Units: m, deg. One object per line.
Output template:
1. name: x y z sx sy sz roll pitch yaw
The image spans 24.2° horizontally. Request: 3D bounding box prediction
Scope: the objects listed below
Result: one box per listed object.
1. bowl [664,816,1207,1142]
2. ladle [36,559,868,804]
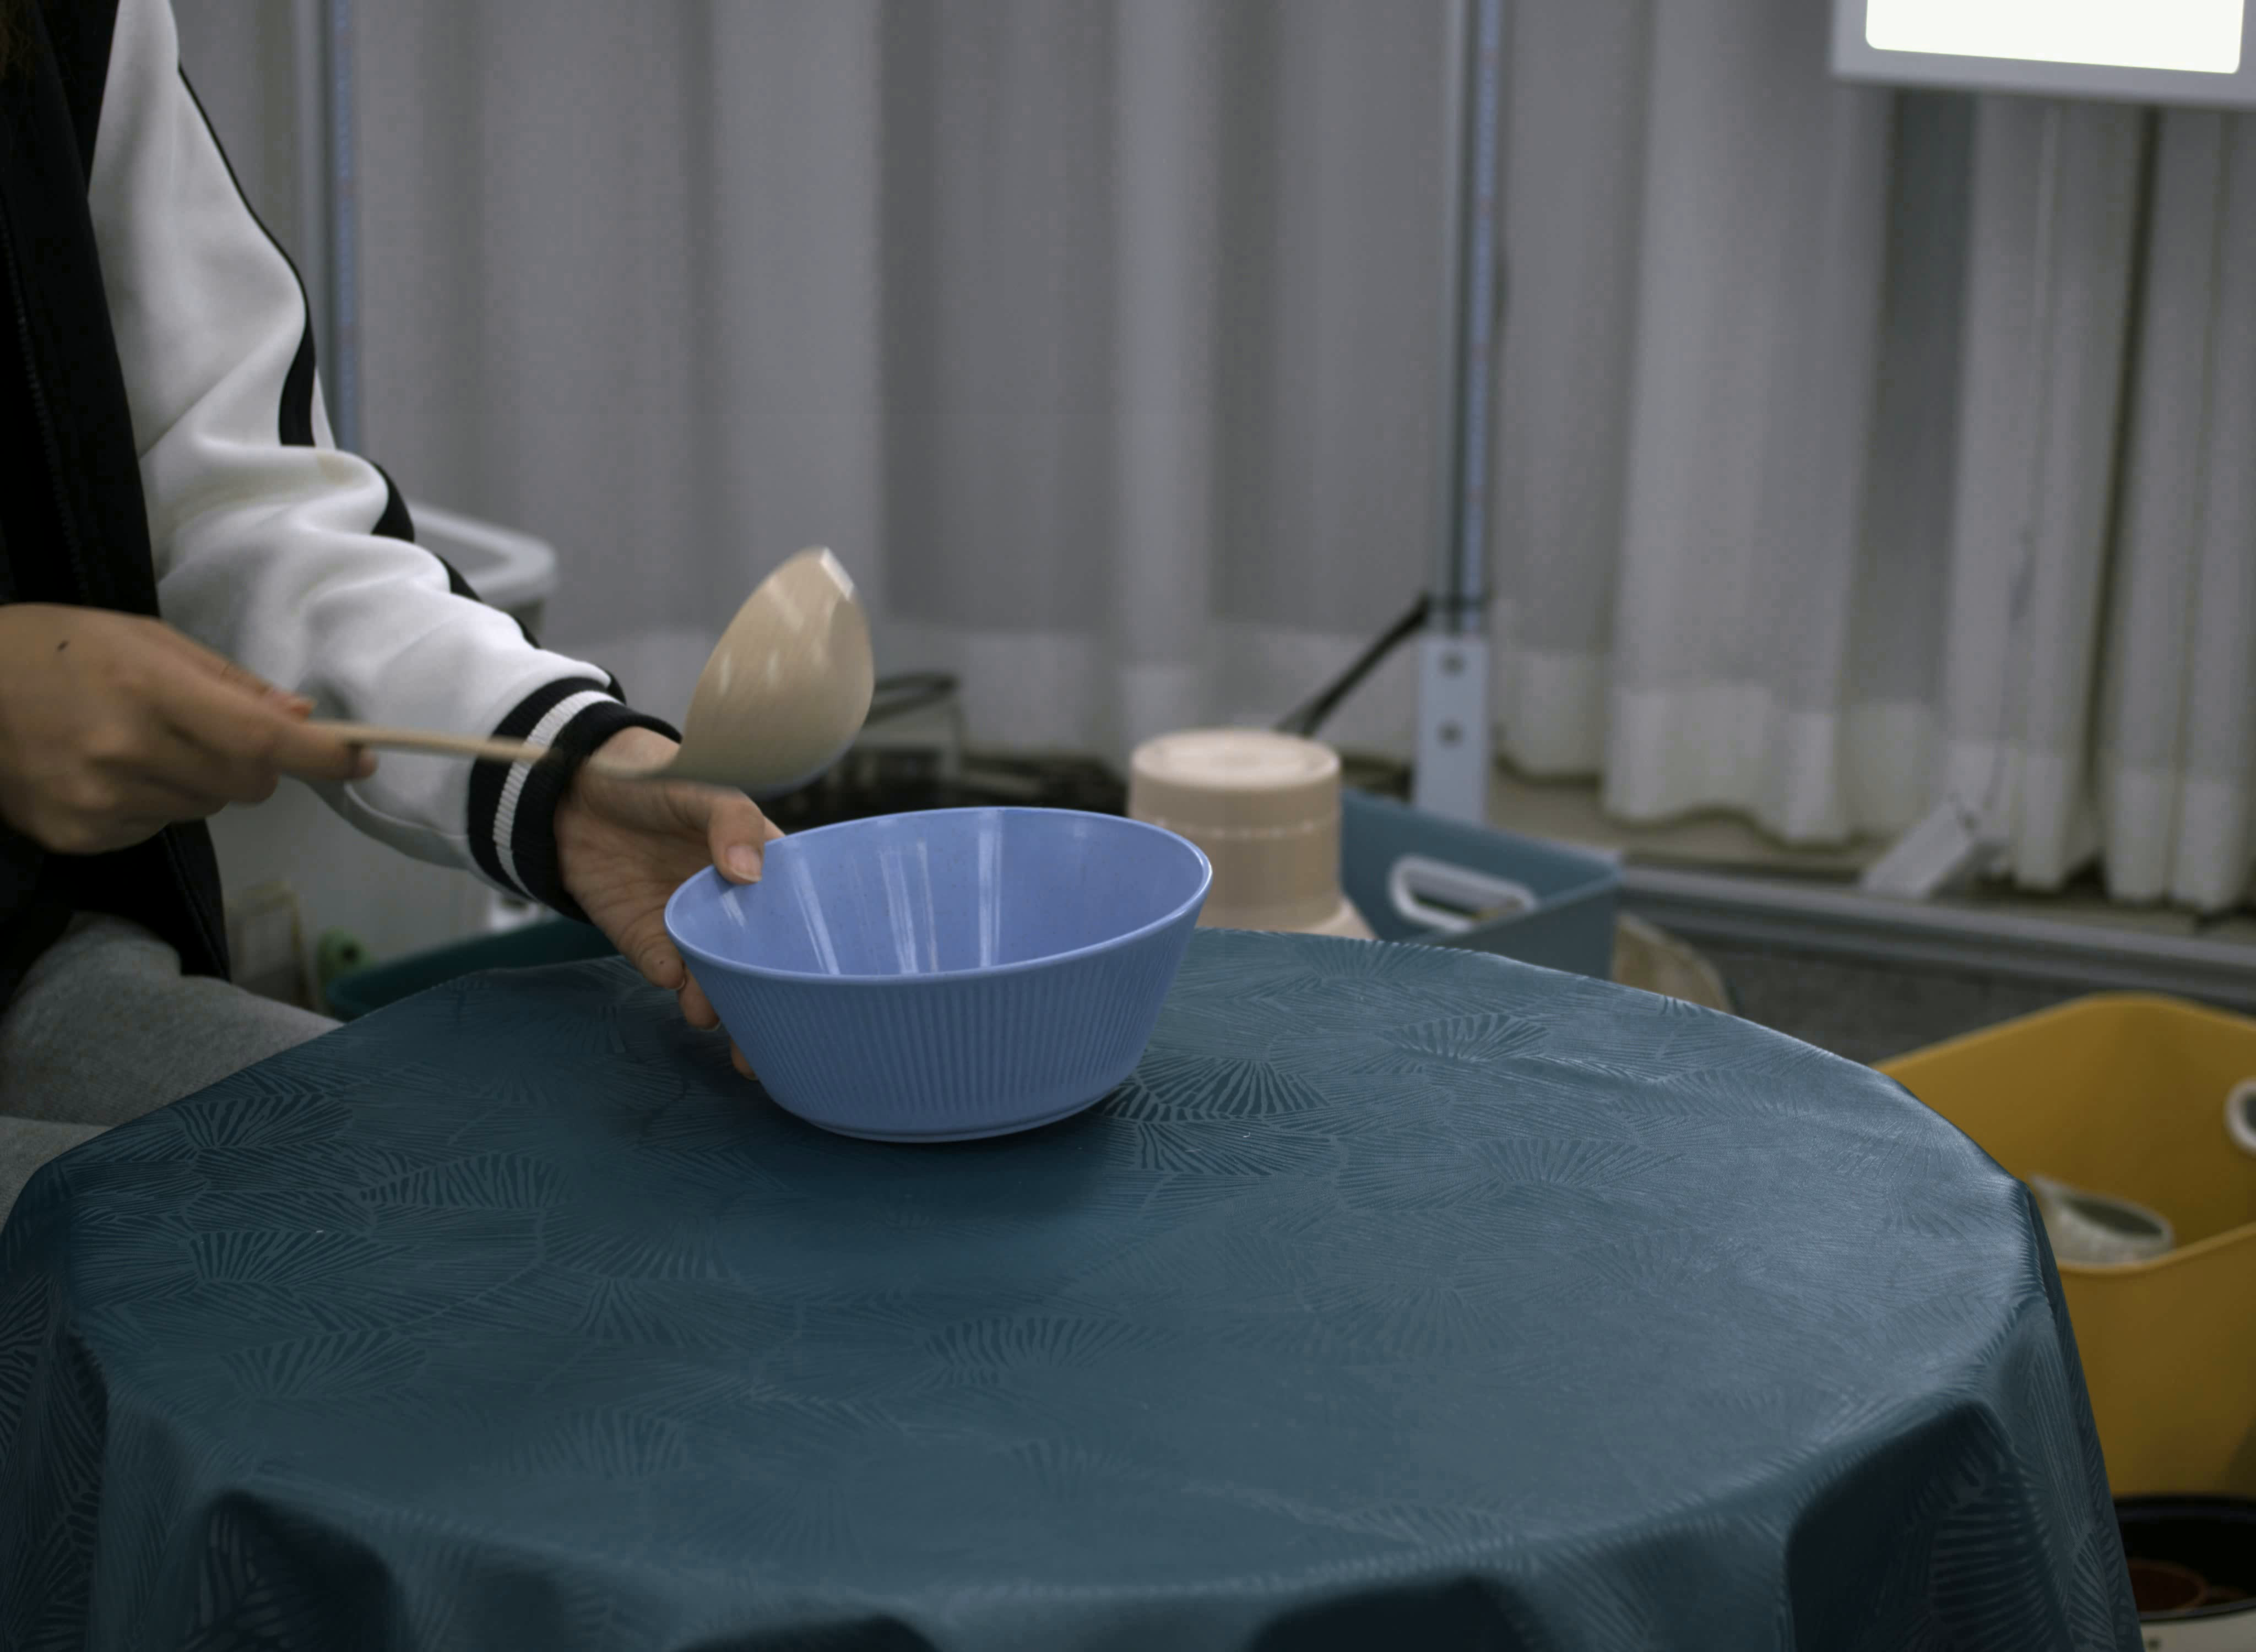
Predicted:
1. bowl: -0.059 0.052 1.693 0.175 0.071 0.175 -3 16 2
2. ladle: -0.201 -0.048 1.549 0.252 0.073 0.072 4 -6 14
